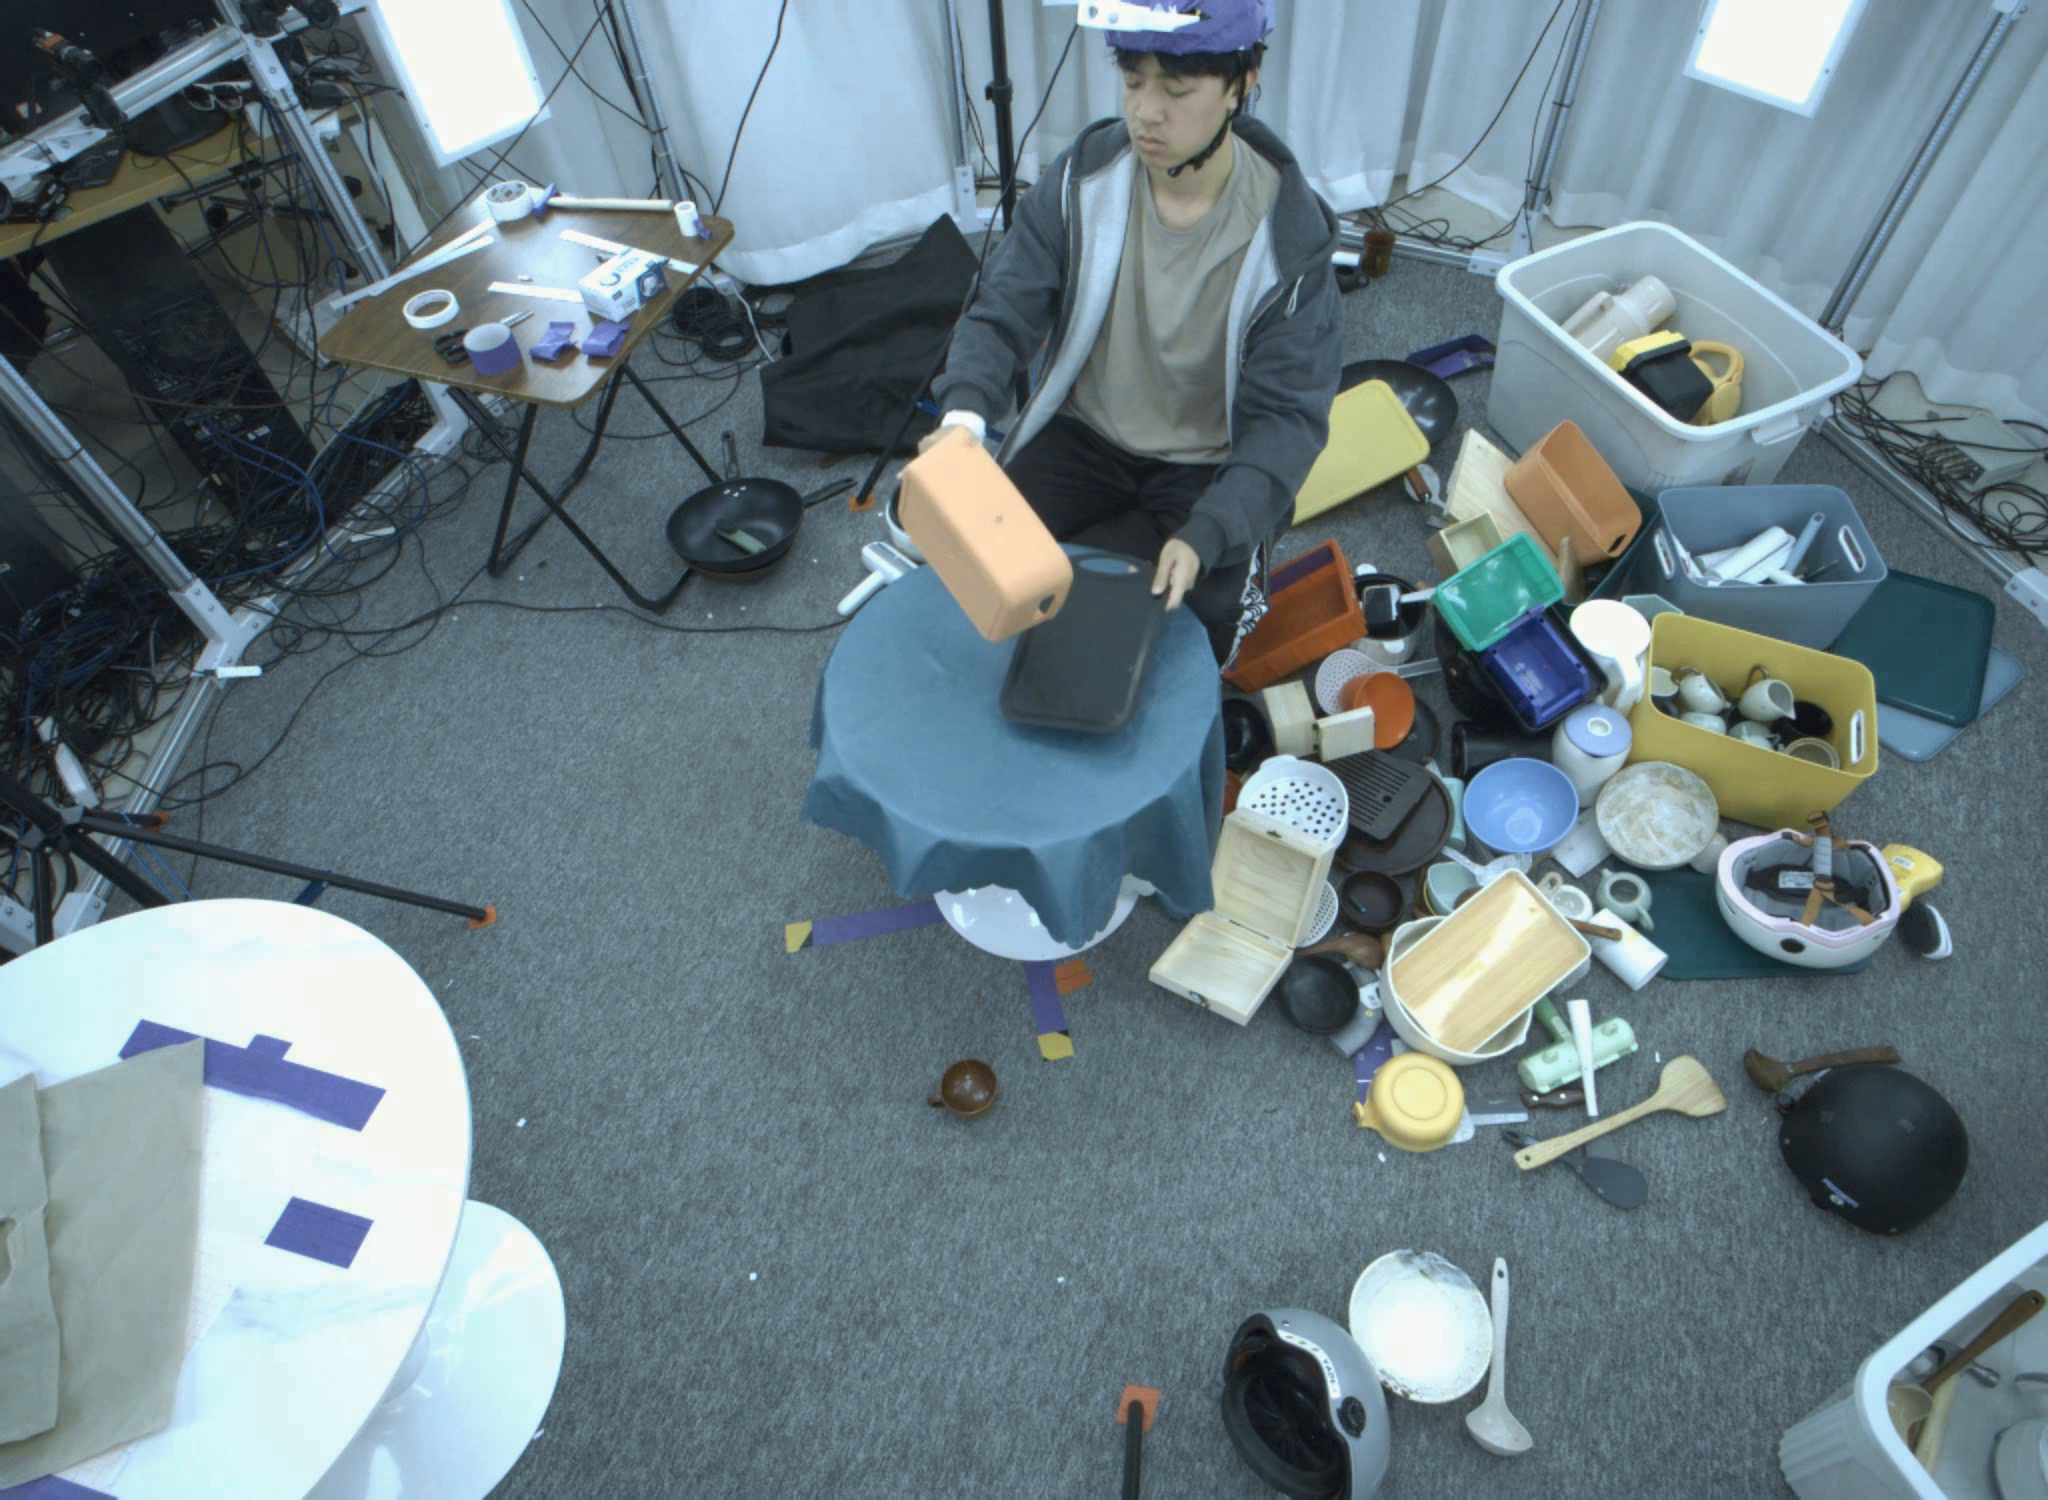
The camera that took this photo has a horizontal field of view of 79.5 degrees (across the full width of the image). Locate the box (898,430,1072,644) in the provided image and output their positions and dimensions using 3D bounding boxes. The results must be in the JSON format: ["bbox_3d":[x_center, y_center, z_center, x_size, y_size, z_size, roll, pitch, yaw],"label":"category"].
[{"bbox_3d":[-0.065,-0.287,1.692,0.103,0.199,0.272,-35,84,-18],"label":"box"}]

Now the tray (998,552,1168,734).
[{"bbox_3d":[0.091,-0.169,1.832,0.208,0.010,0.324,8,62,17],"label":"tray"}]
